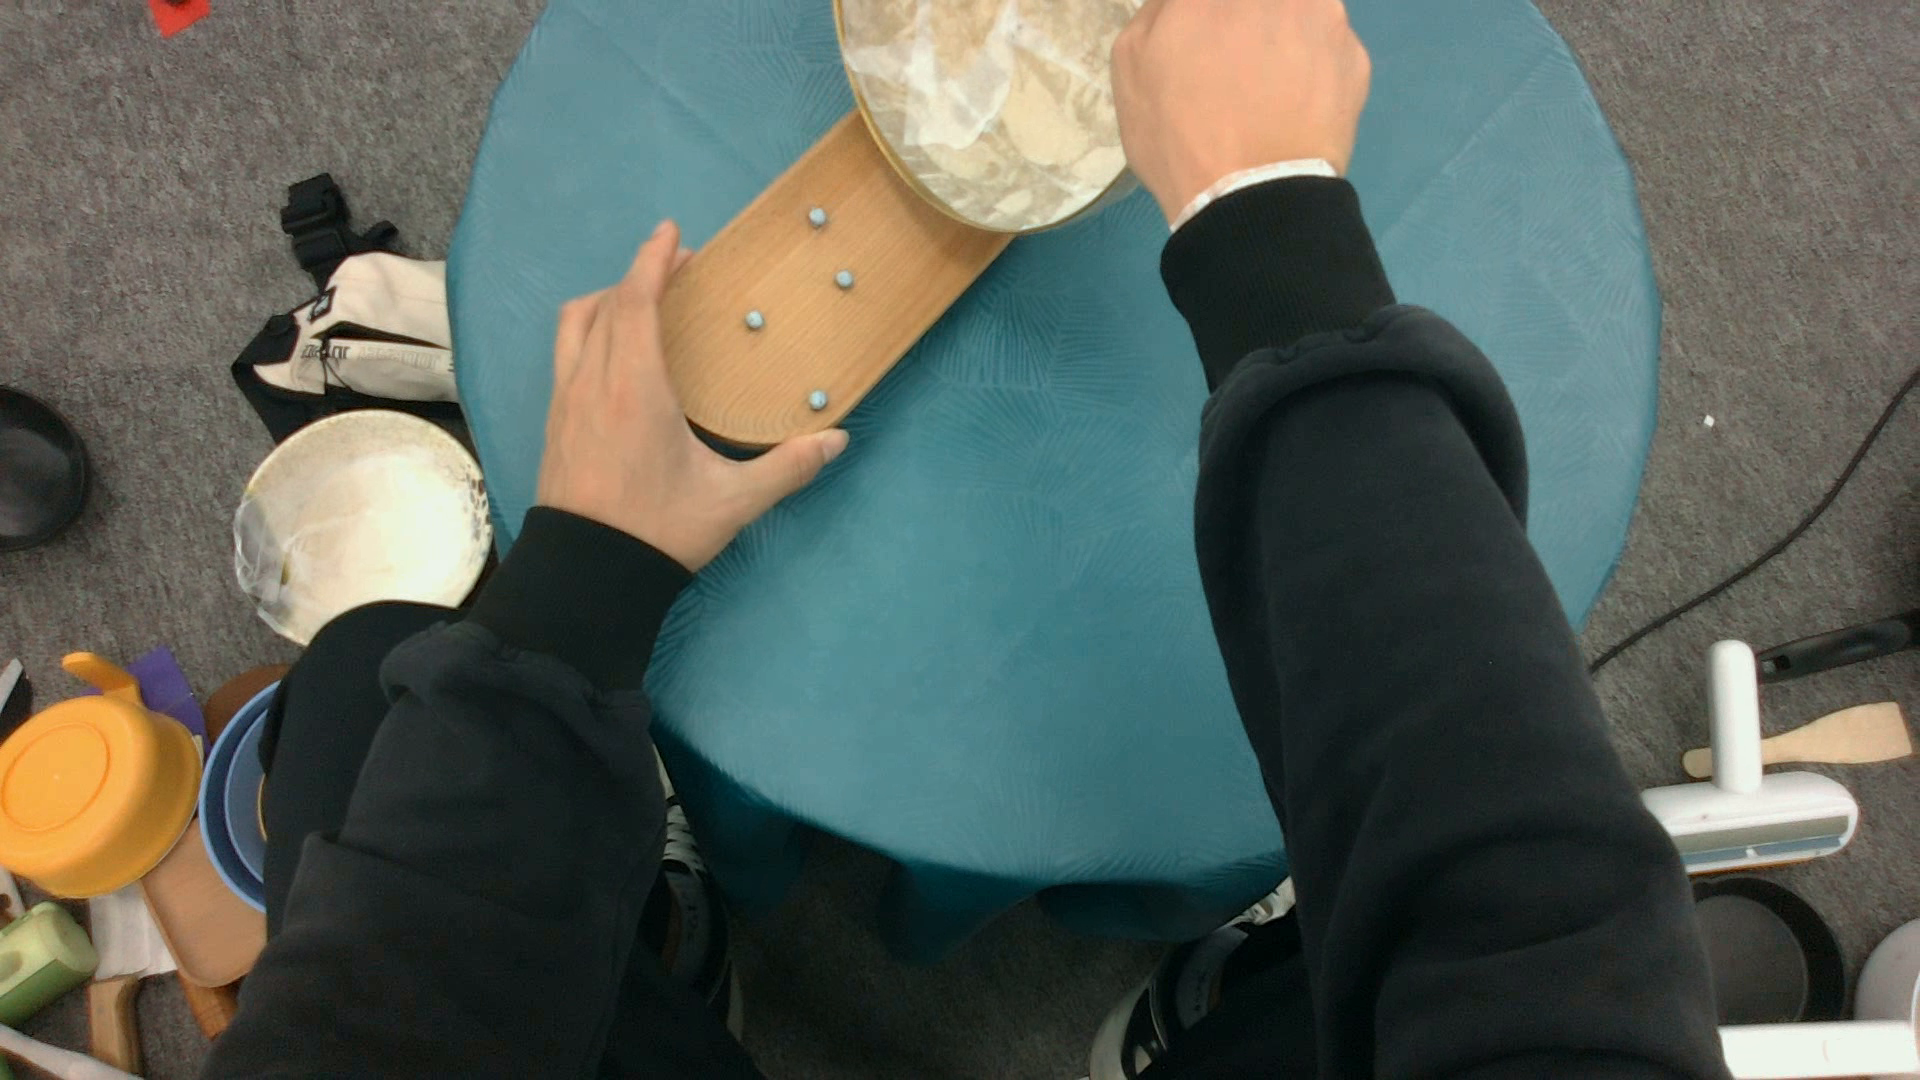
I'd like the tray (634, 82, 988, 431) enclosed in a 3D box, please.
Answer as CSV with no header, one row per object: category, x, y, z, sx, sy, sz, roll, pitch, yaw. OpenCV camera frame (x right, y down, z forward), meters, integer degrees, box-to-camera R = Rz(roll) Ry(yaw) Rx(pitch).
tray,-0.059,-0.142,0.652,0.101,0.020,0.232,38,63,1

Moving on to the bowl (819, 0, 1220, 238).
bowl,0.036,-0.244,0.607,0.095,0.213,0.215,-23,76,-43
